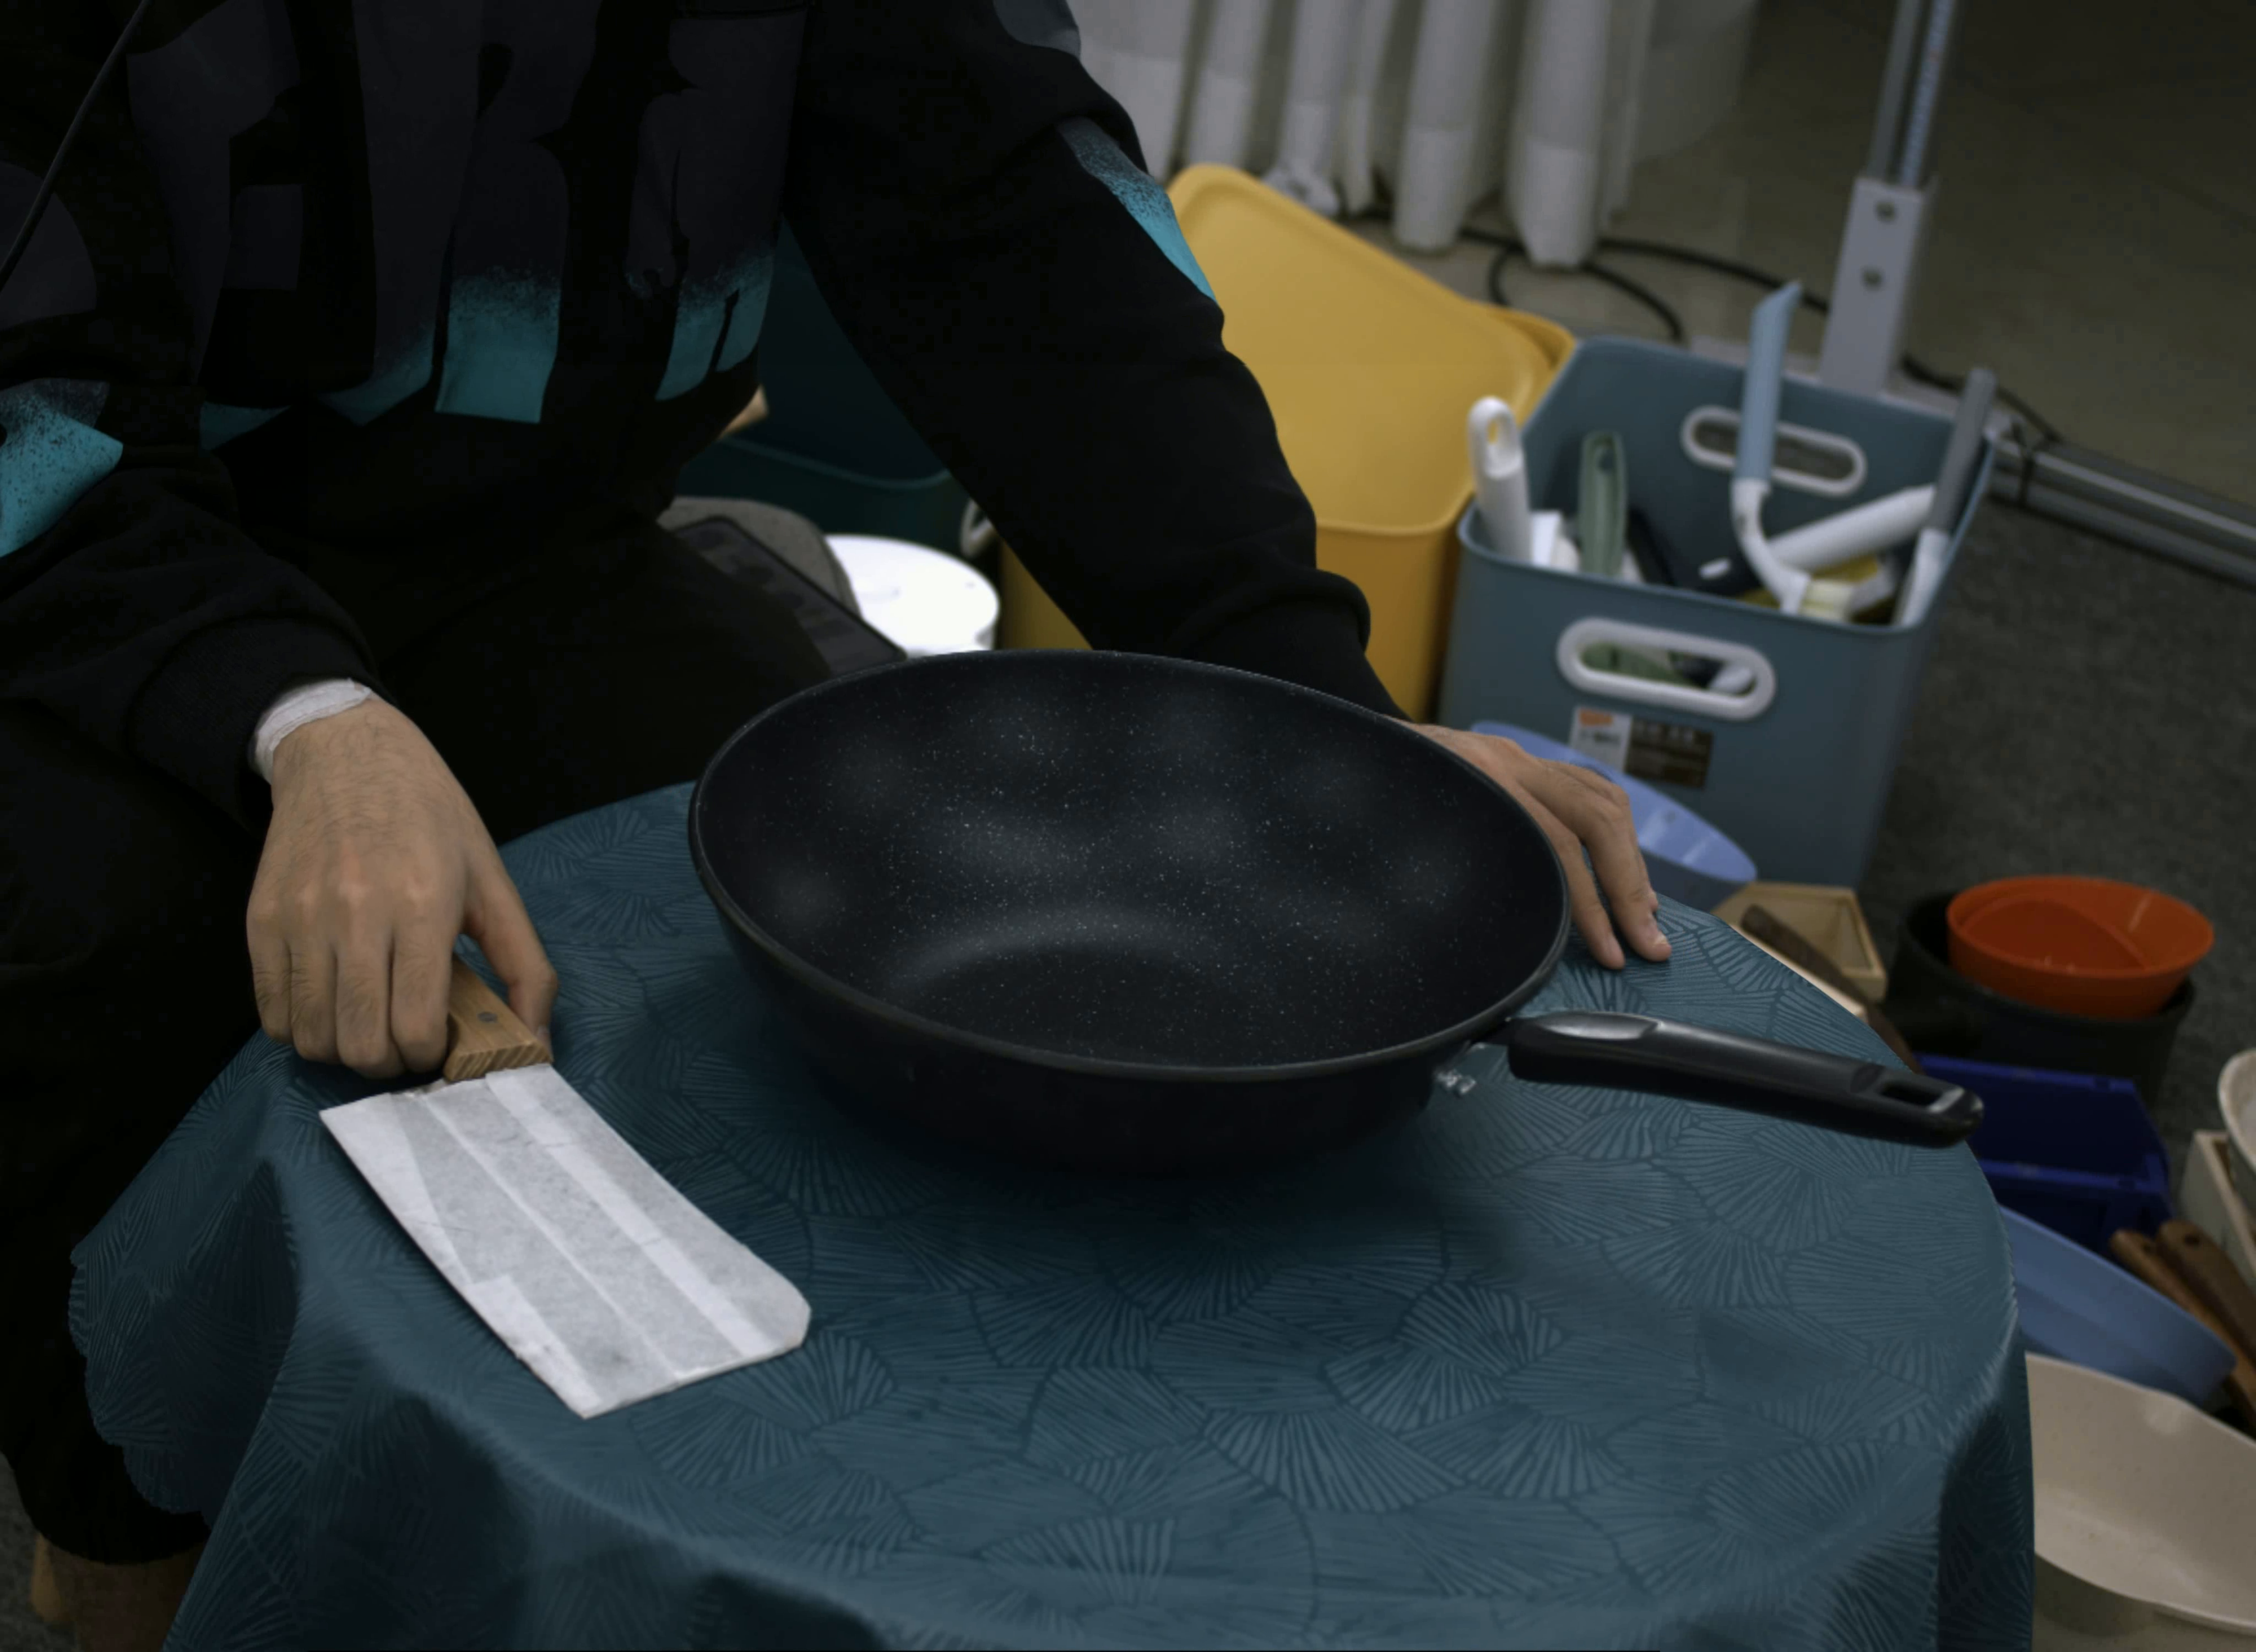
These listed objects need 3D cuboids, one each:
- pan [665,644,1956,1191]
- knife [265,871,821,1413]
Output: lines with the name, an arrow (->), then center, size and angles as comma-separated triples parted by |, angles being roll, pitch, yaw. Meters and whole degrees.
pan -> 0.060, 0.061, 1.823 | 0.479, 0.111, 0.309 | 22, 32, 27
knife -> -0.210, 0.101, 1.781 | 0.113, 0.021, 0.318 | -10, 34, -29
